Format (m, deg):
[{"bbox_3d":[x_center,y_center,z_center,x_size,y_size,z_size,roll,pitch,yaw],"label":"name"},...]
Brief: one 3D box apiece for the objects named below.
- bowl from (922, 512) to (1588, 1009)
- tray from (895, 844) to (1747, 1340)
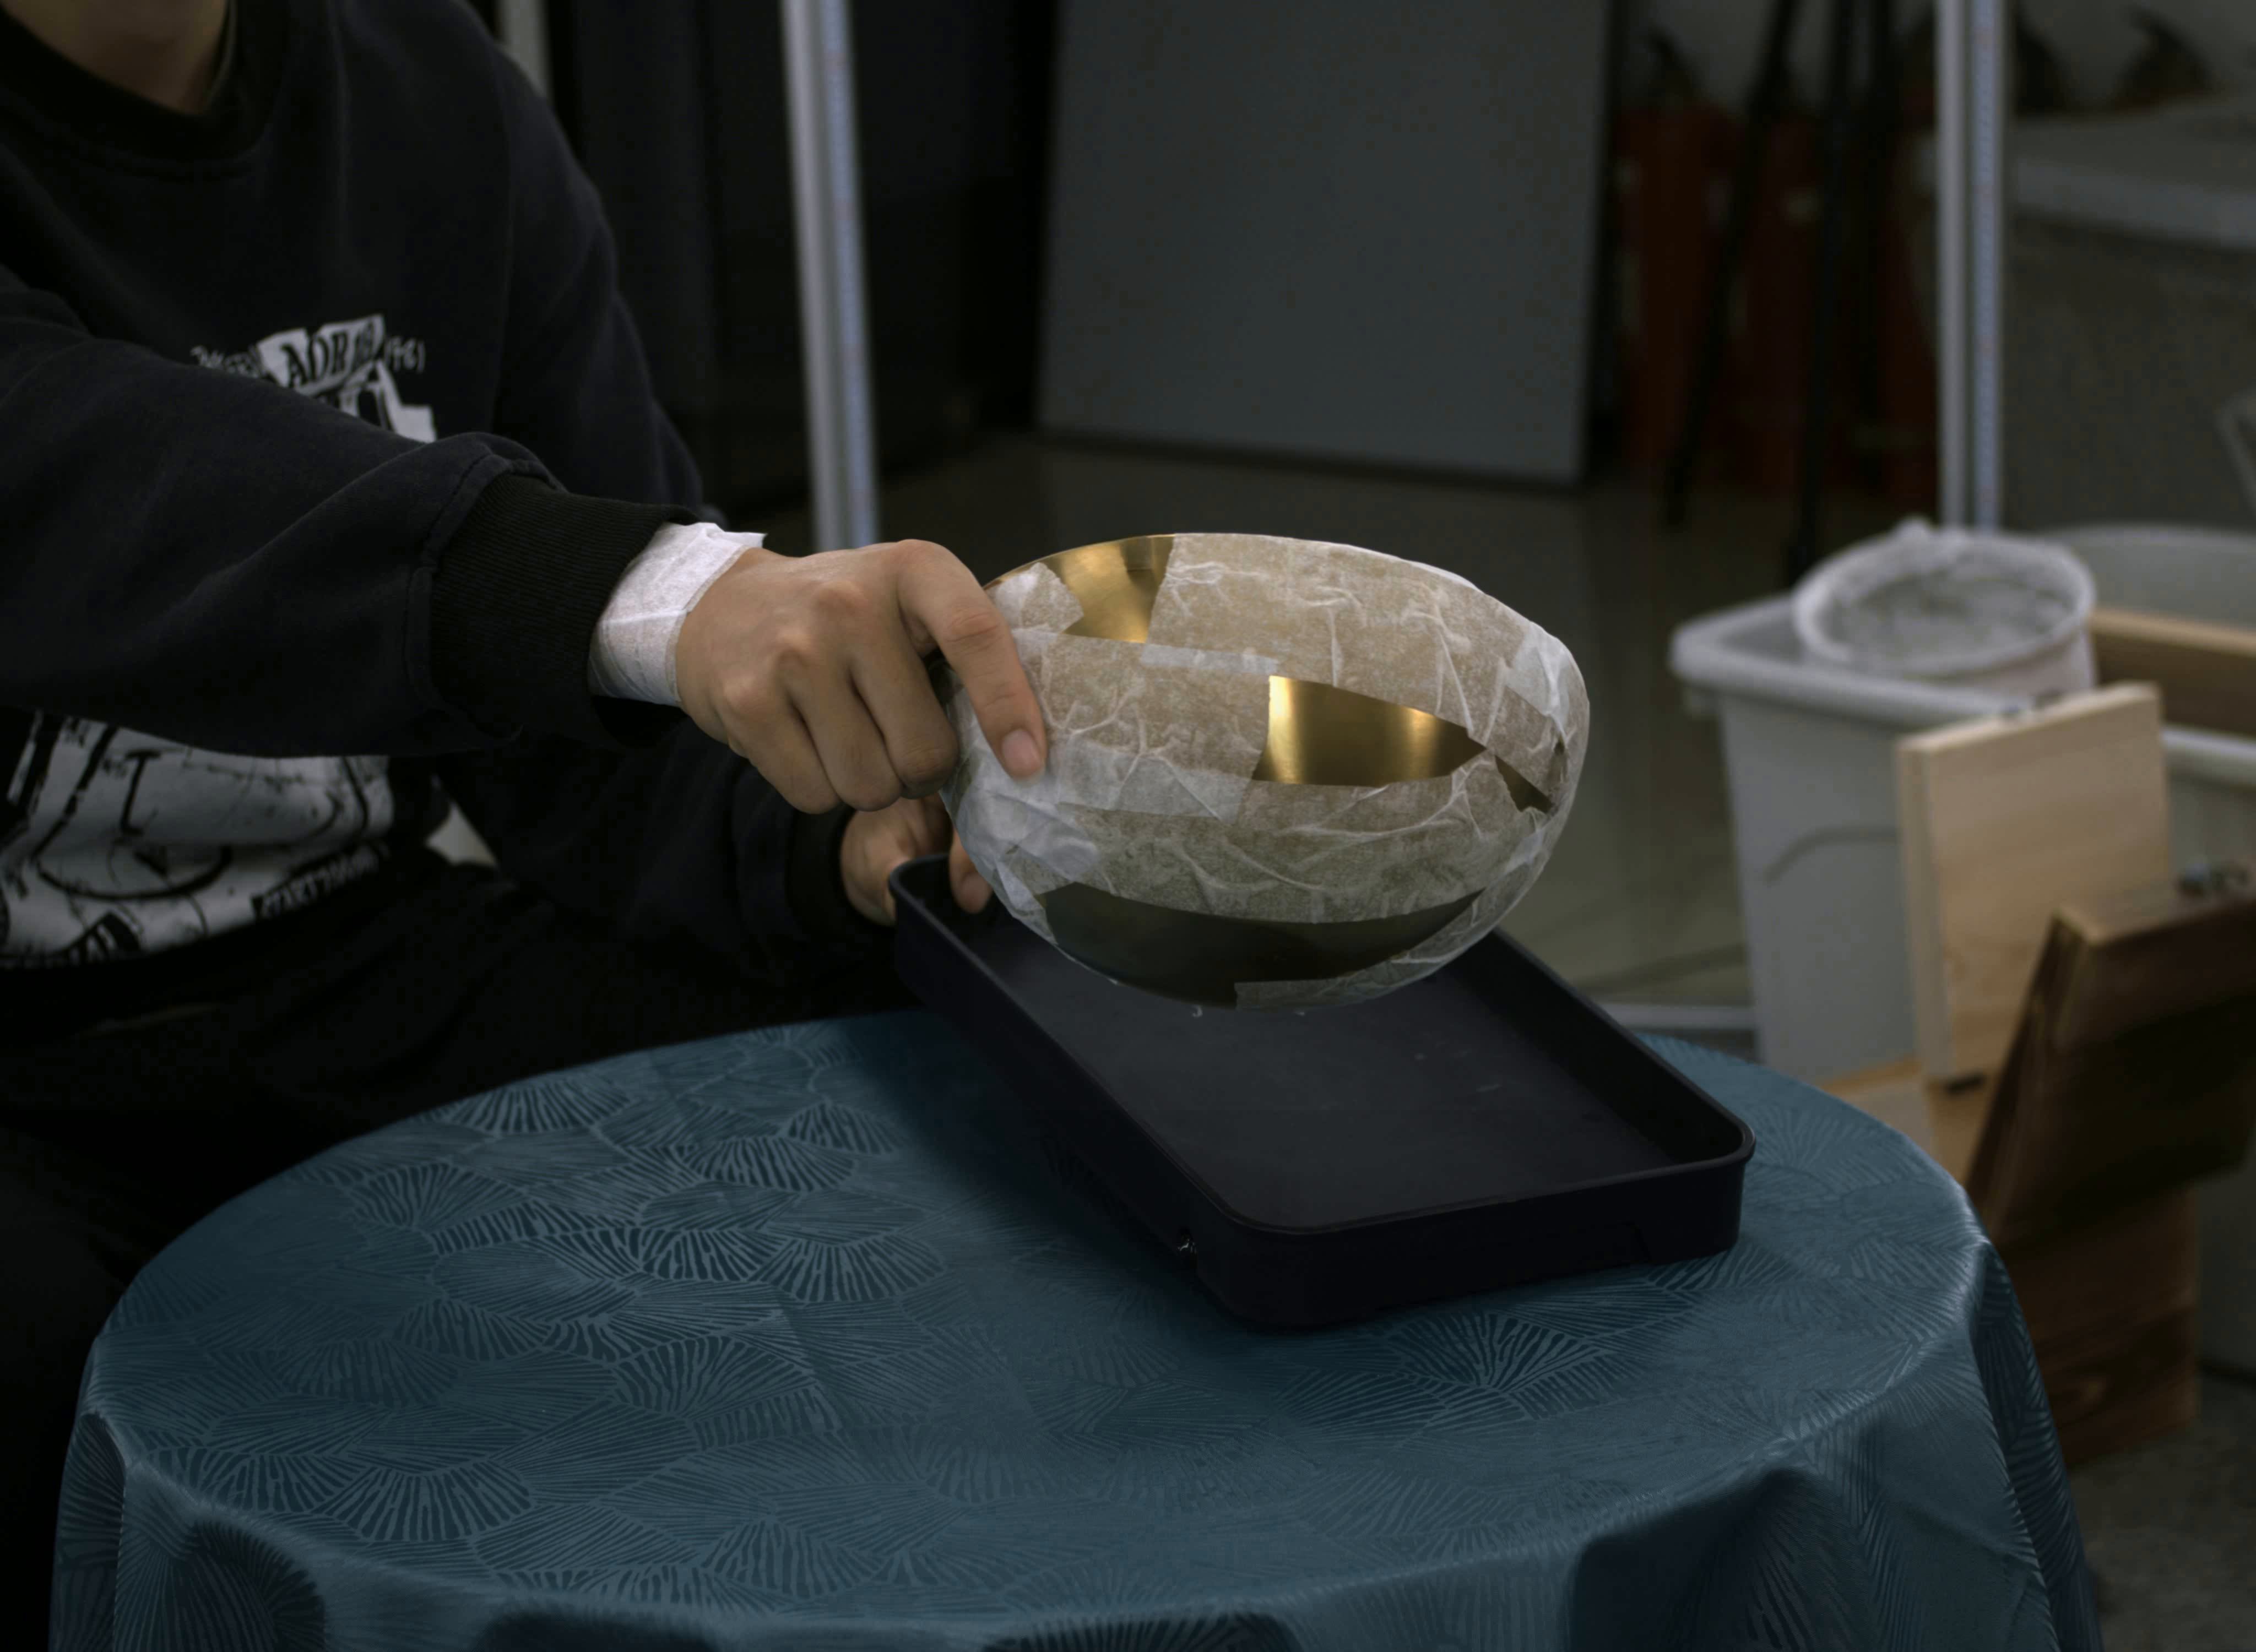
[{"bbox_3d":[0.034,-0.002,1.599,0.212,0.095,0.215,5,-26,1],"label":"bowl"},{"bbox_3d":[0.056,0.074,1.772,0.180,0.037,0.321,-7,24,-21],"label":"tray"}]
